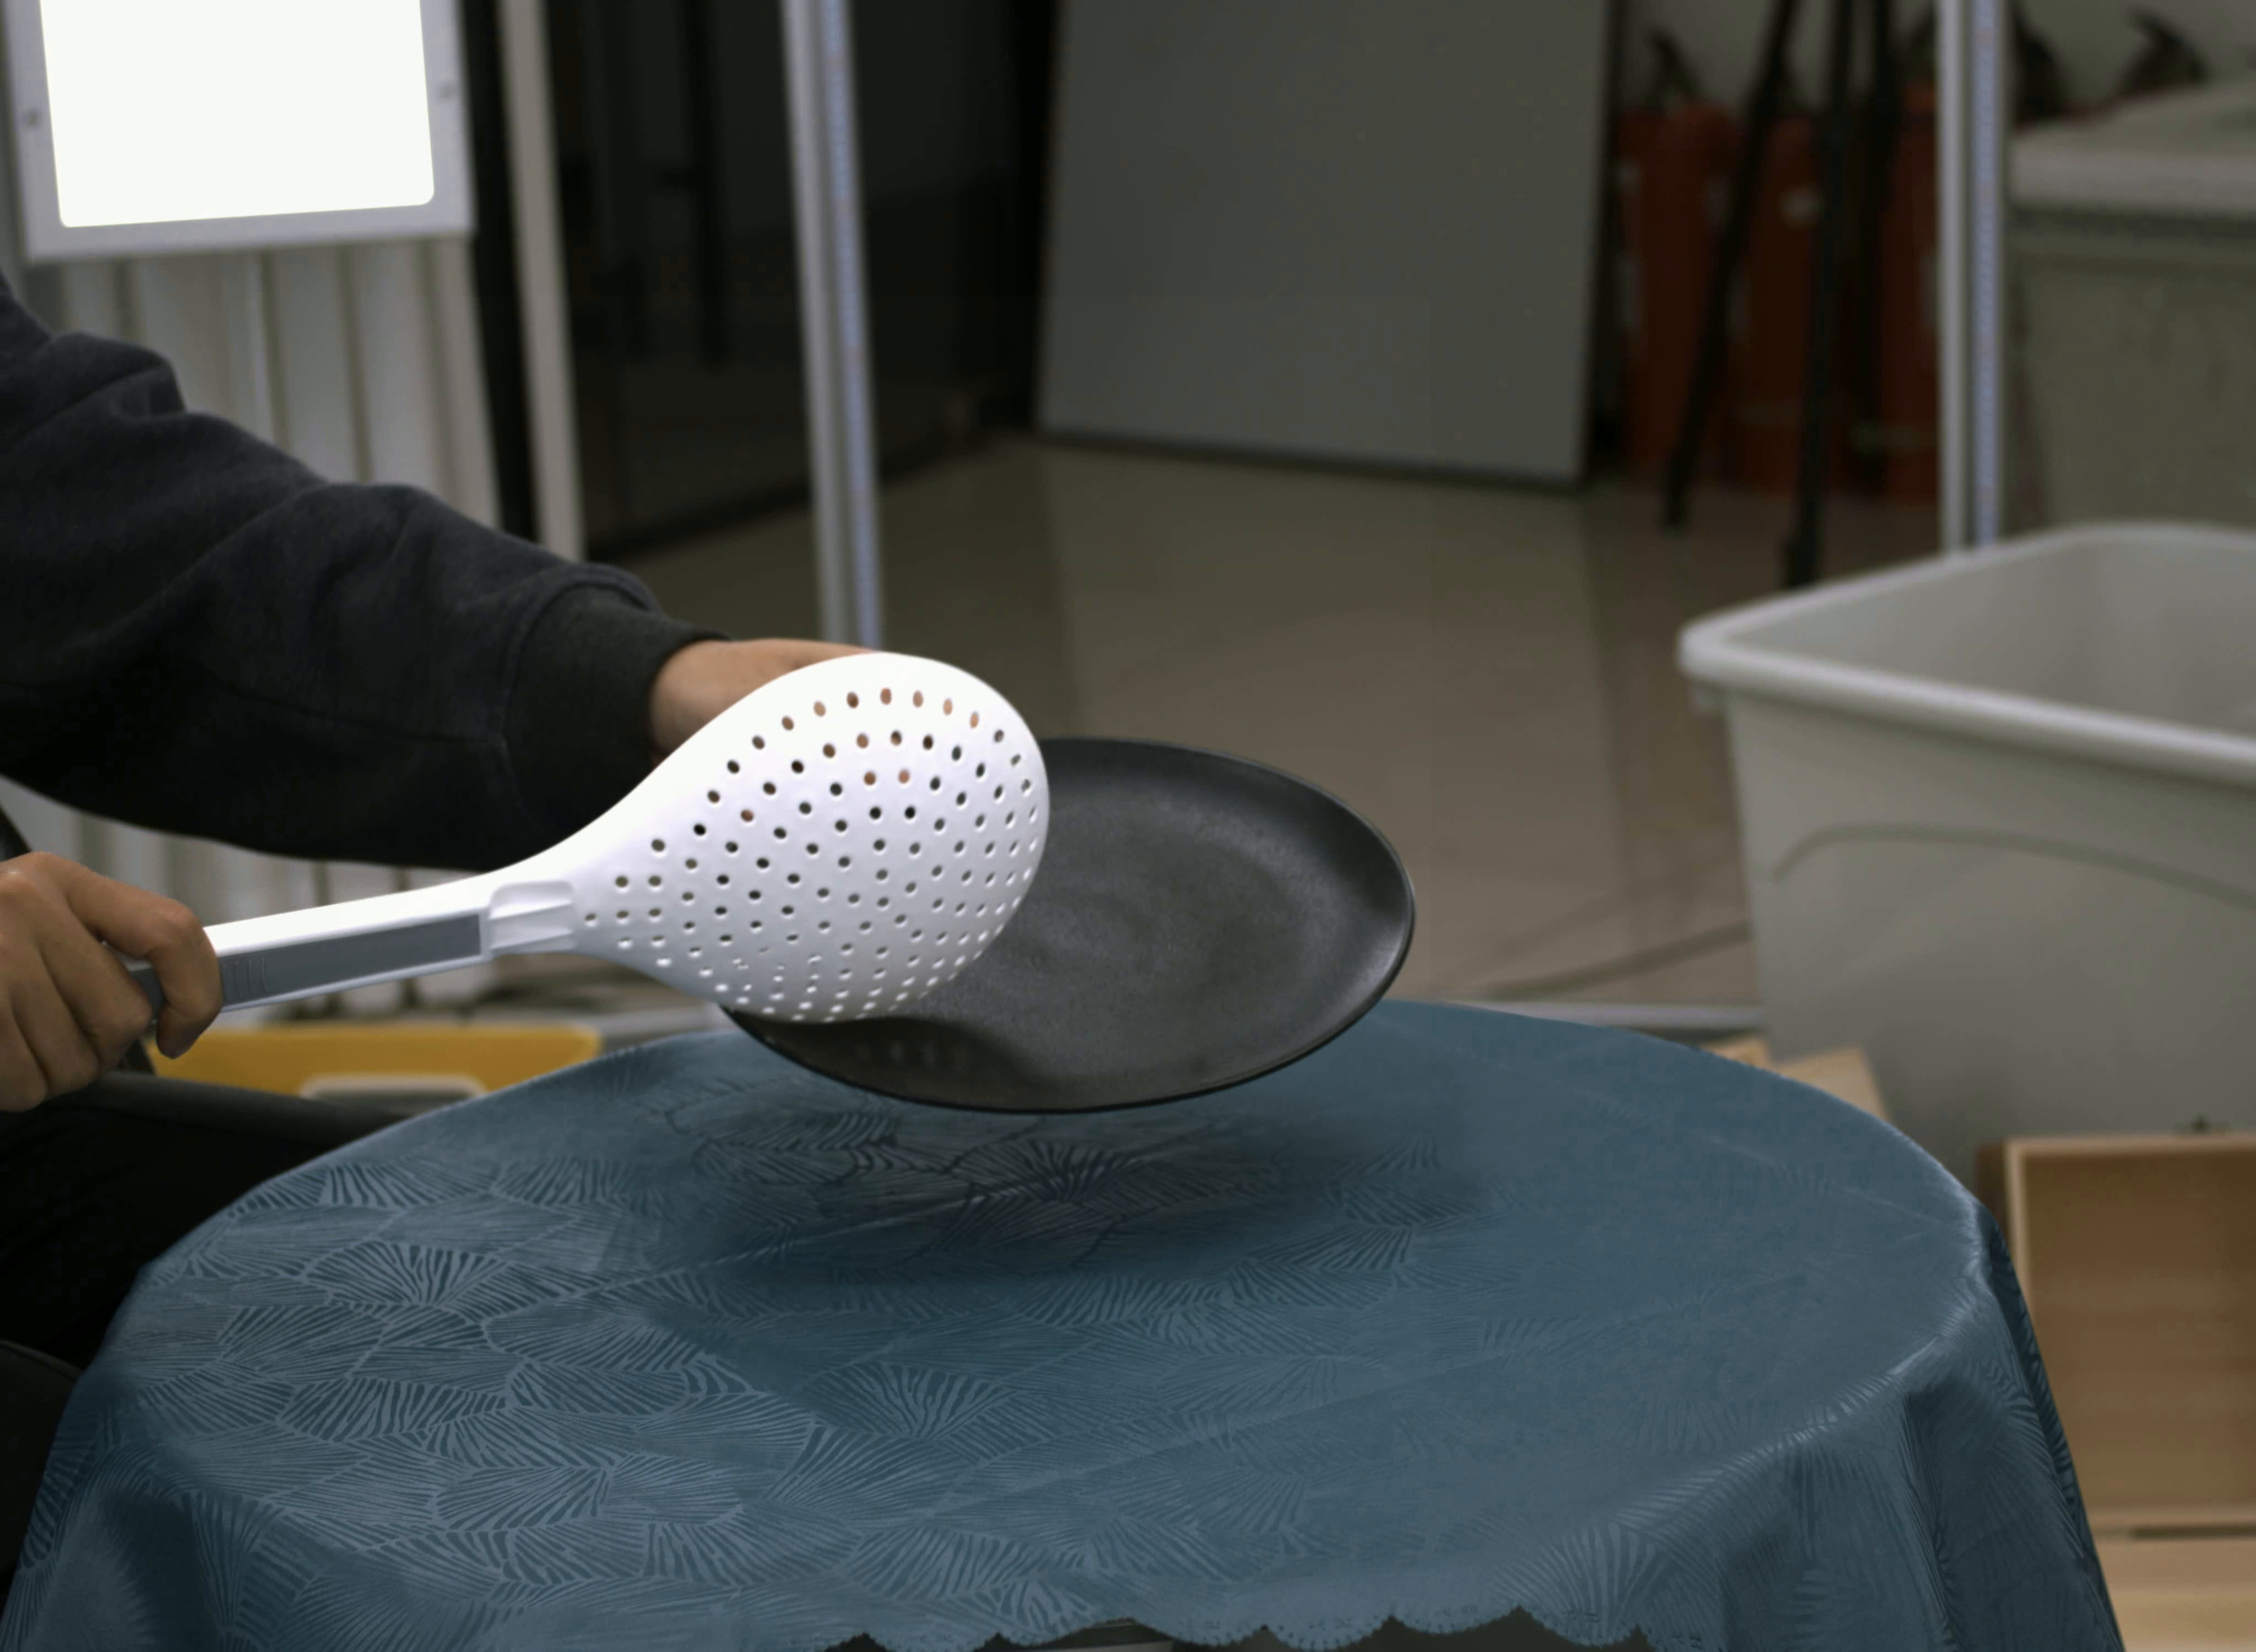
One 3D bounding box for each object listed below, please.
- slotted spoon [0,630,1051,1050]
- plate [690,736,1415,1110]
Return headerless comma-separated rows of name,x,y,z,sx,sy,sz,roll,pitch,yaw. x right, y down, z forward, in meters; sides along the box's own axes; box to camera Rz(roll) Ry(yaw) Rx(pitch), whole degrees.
slotted spoon,-0.185,0.022,1.681,0.343,0.137,0.046,-9,33,-12
plate,-0.025,0.036,1.788,0.241,0.023,0.245,-2,29,0
